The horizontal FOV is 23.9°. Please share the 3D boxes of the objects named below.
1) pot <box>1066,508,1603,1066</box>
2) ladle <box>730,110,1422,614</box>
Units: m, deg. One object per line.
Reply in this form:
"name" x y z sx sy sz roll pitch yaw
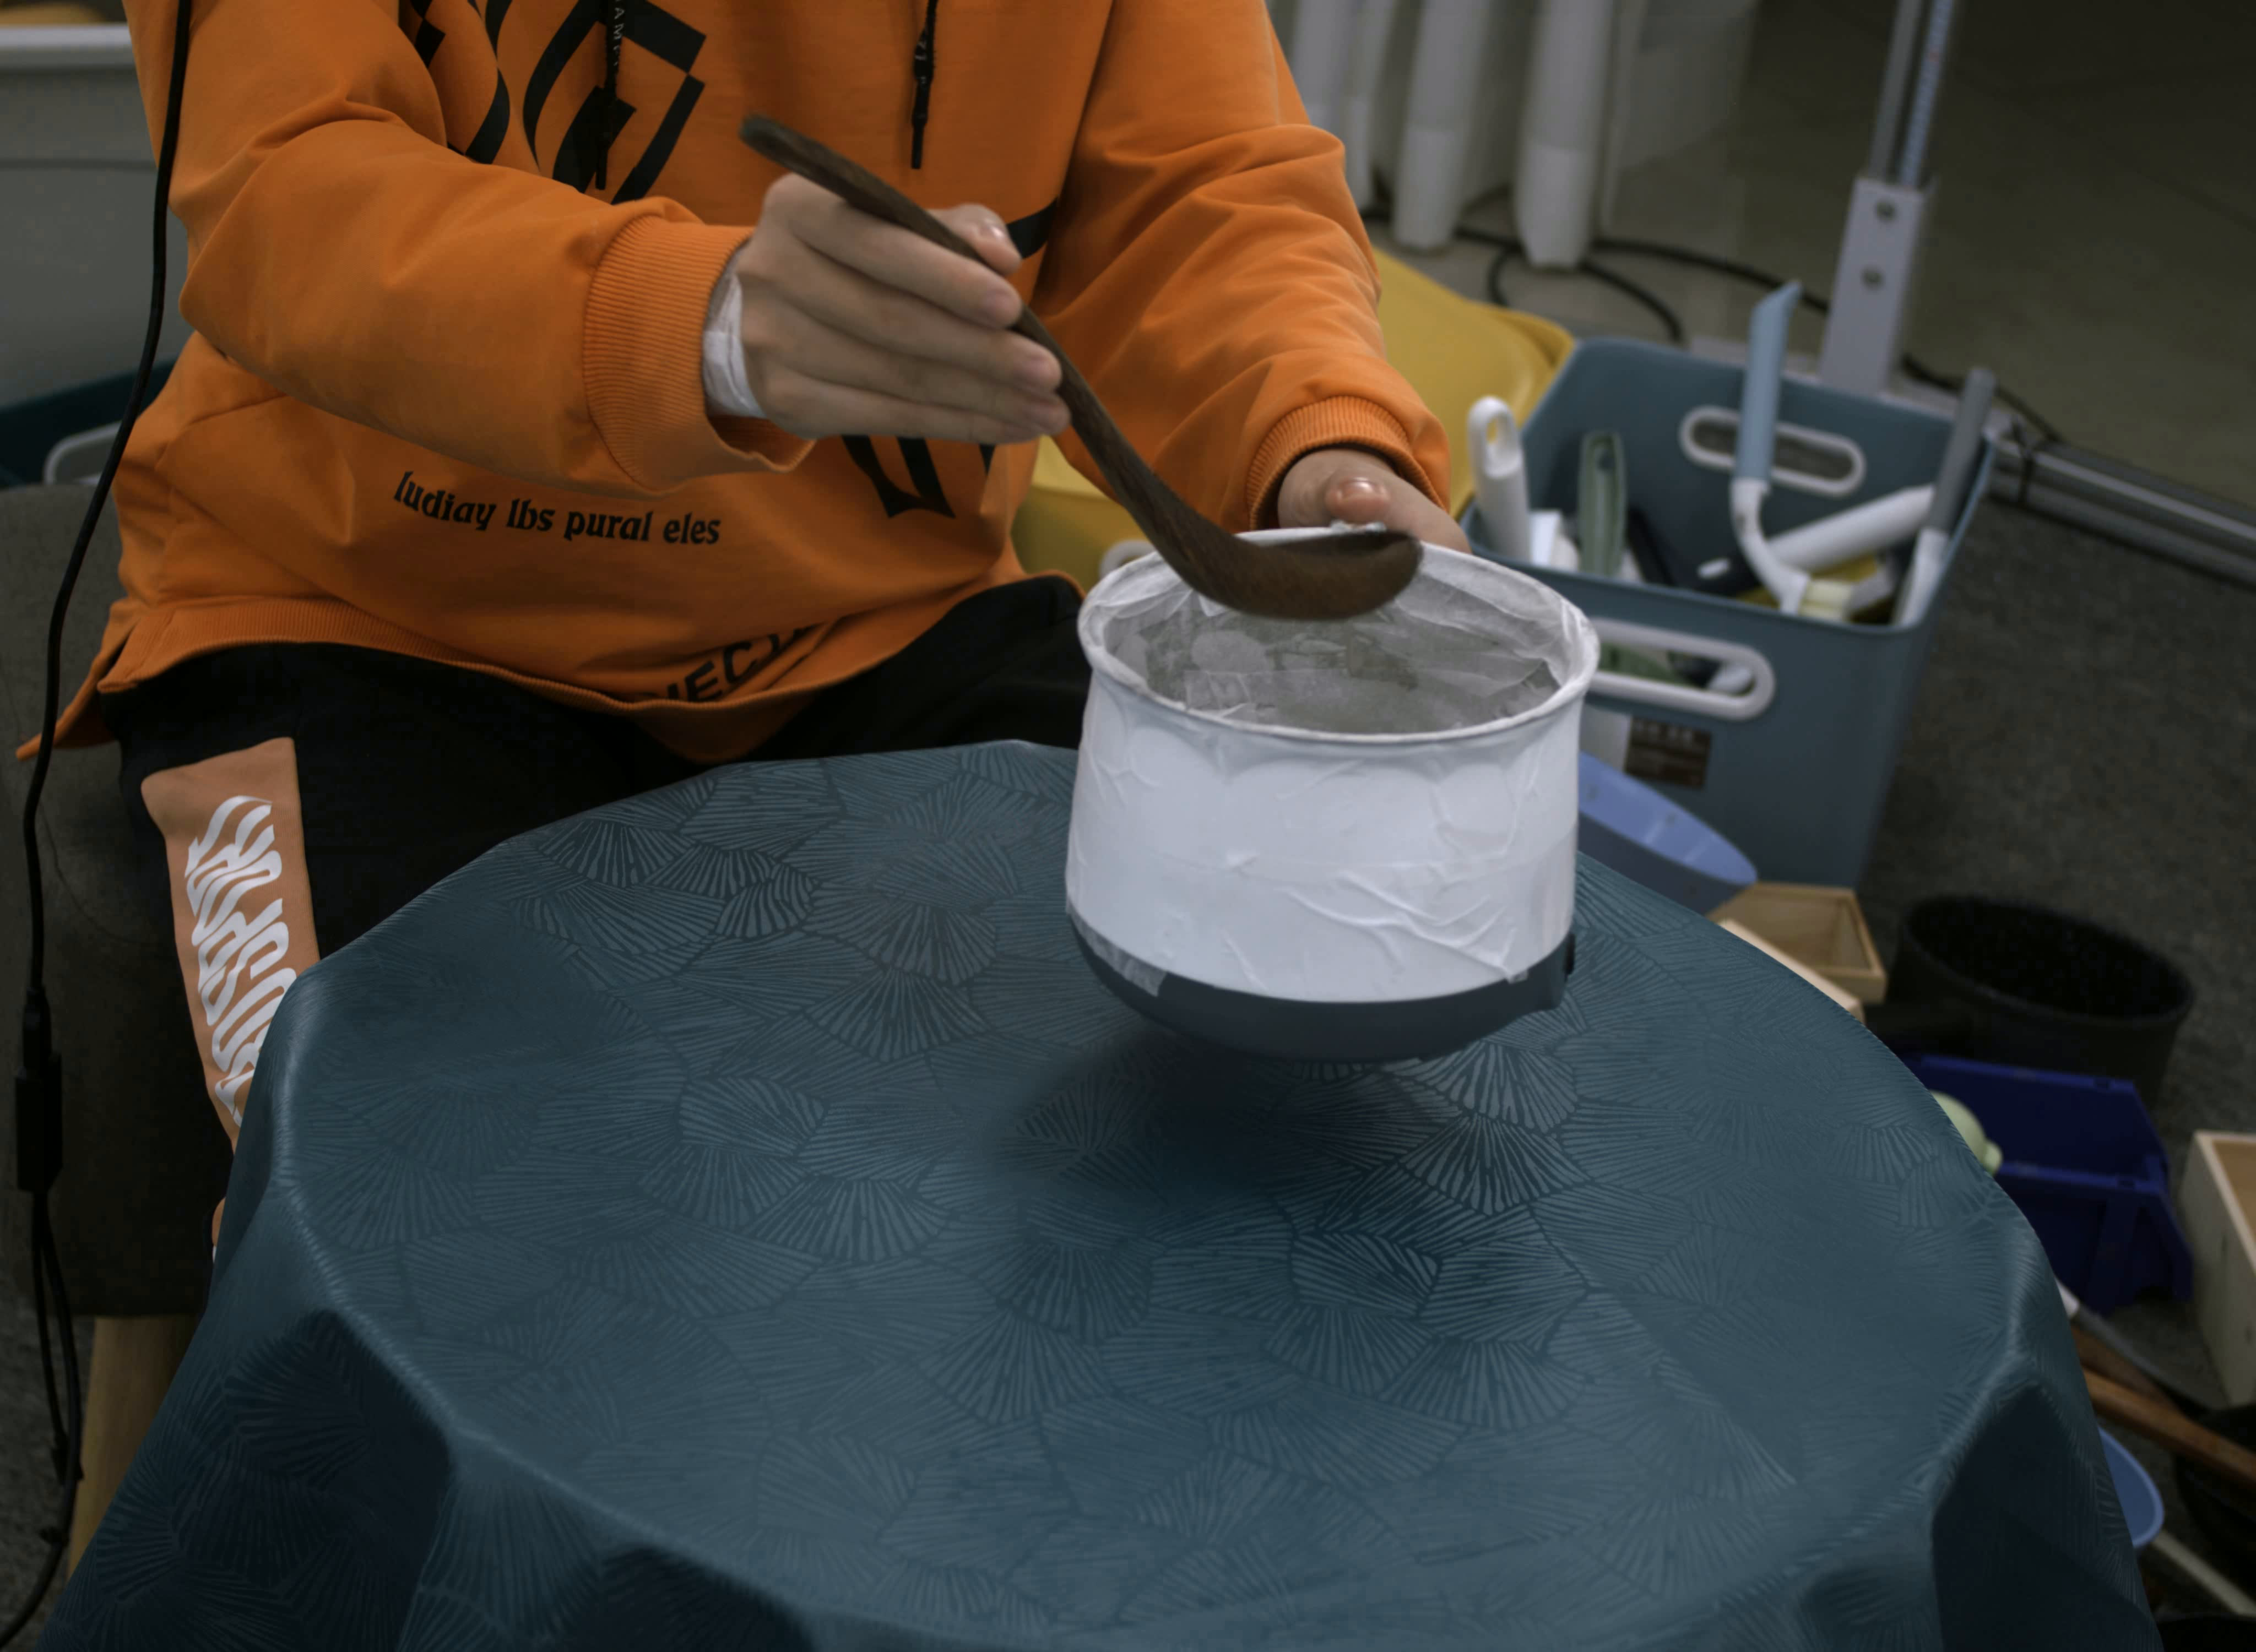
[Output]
"pot" 0.070 -0.020 1.842 0.178 0.136 0.235 5 25 3
"ladle" -0.012 -0.161 1.742 0.071 0.272 0.076 -52 22 -16
